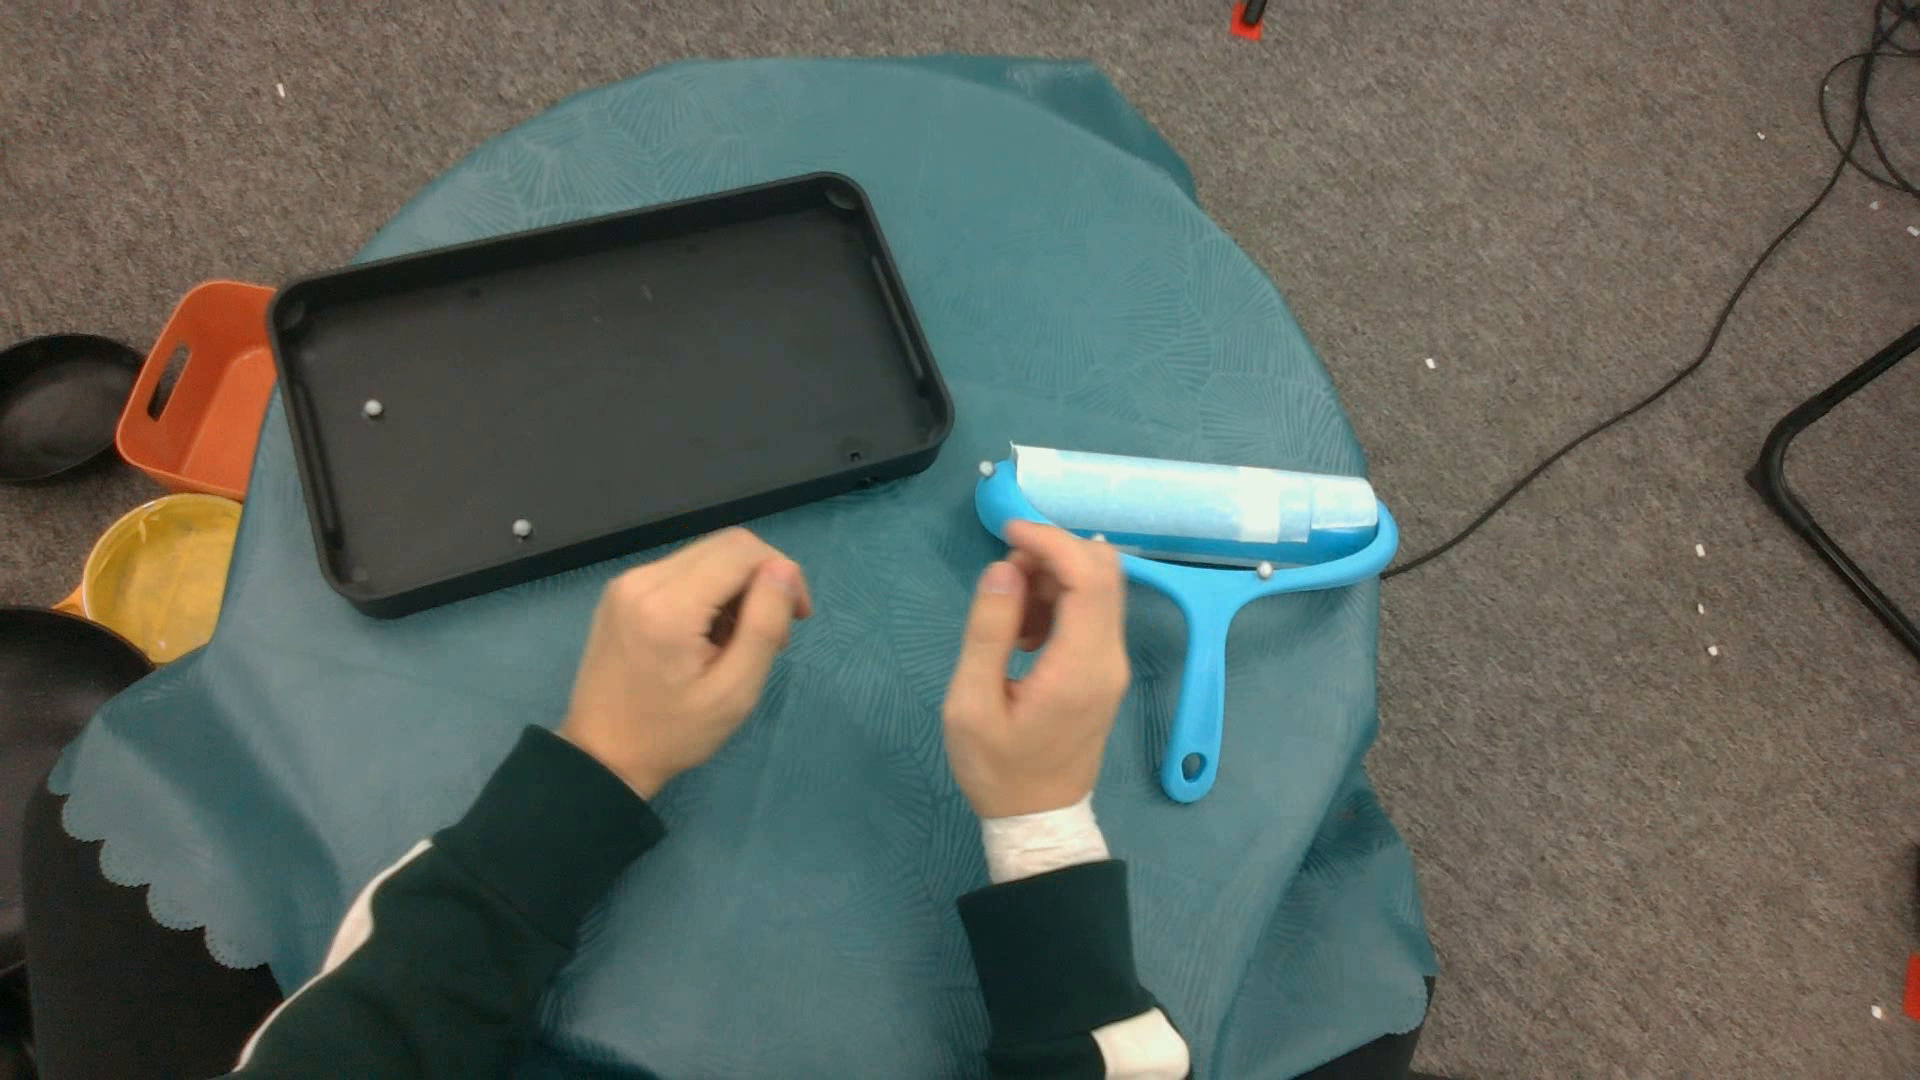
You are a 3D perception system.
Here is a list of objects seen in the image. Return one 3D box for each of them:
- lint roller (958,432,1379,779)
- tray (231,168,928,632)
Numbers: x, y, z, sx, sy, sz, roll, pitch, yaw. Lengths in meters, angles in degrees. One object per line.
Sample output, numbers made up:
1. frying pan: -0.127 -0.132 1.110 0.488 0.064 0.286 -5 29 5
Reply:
1. lint roller: 0.116 0.028 0.713 0.229 0.067 0.181 1 65 -11
2. tray: -0.192 -0.082 0.722 0.319 0.037 0.184 -19 71 -18
